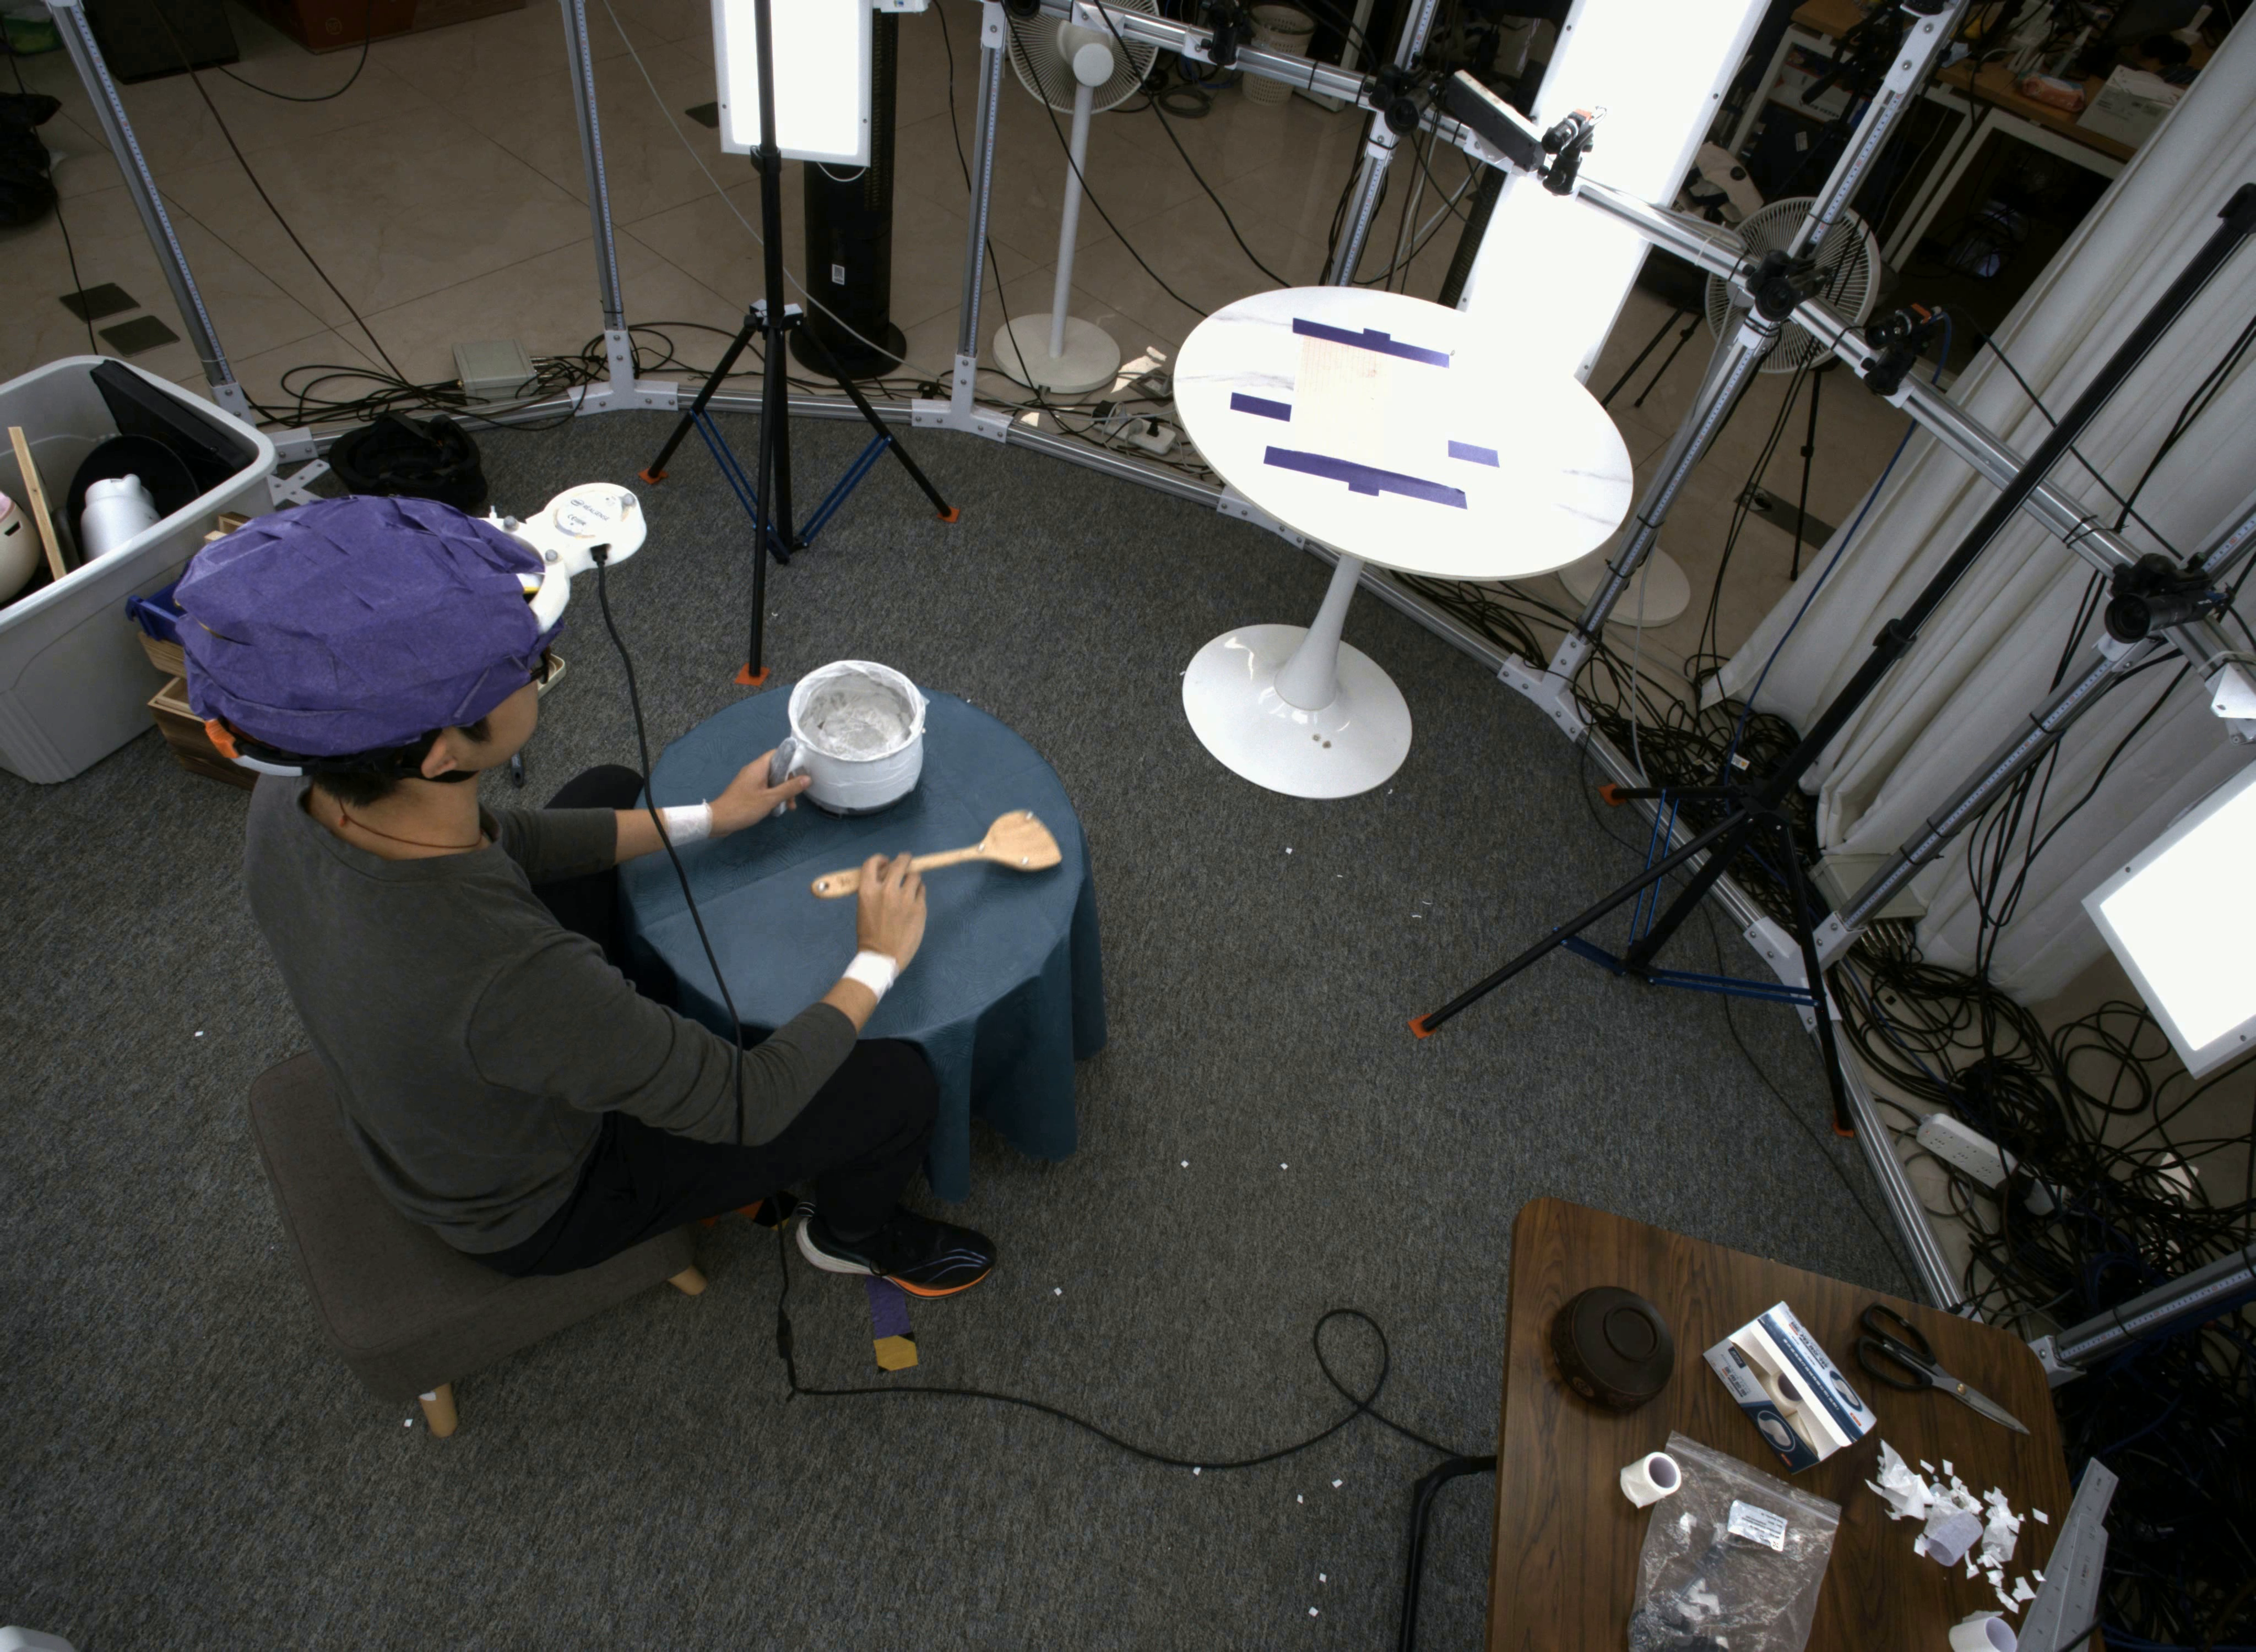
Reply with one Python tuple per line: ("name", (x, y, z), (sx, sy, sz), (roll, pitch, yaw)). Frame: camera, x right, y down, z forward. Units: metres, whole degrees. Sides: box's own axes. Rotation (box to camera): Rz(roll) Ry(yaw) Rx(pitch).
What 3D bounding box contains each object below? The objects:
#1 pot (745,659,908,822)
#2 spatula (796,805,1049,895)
("pot", (-0.405, -0.099, 1.725), (0.174, 0.139, 0.234), (42, 56, 19))
("spatula", (-0.249, 0.038, 1.624), (0.396, 0.018, 0.094), (-14, 63, -50))
